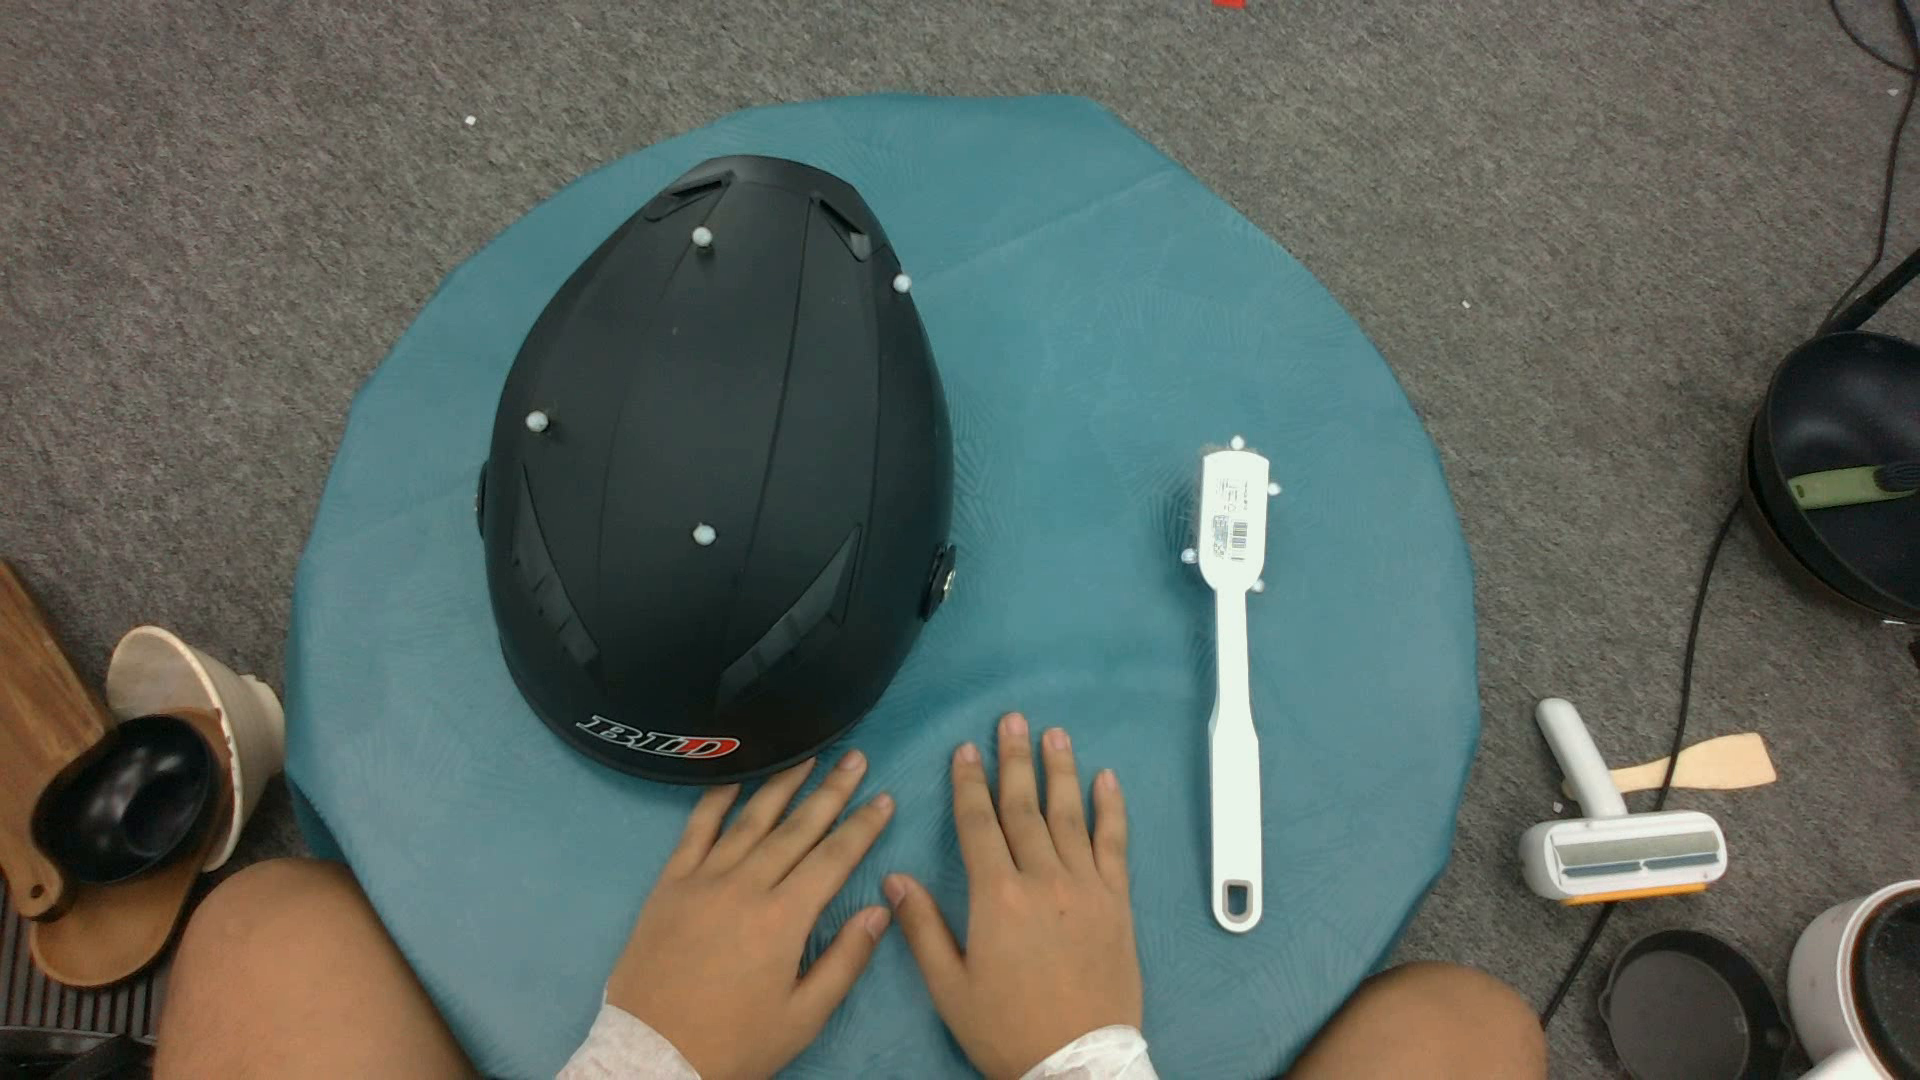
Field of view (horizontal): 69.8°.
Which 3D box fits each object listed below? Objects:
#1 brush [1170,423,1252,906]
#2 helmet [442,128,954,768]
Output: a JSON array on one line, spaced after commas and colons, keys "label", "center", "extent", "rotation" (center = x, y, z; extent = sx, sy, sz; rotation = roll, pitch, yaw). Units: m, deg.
[{"label": "brush", "center": [0.127, 0.057, 0.692], "extent": [0.034, 0.050, 0.244], "rotation": [0, 79, 1]}, {"label": "helmet", "center": [-0.122, -0.048, 0.636], "extent": [0.247, 0.171, 0.278], "rotation": [11, 64, -1]}]
